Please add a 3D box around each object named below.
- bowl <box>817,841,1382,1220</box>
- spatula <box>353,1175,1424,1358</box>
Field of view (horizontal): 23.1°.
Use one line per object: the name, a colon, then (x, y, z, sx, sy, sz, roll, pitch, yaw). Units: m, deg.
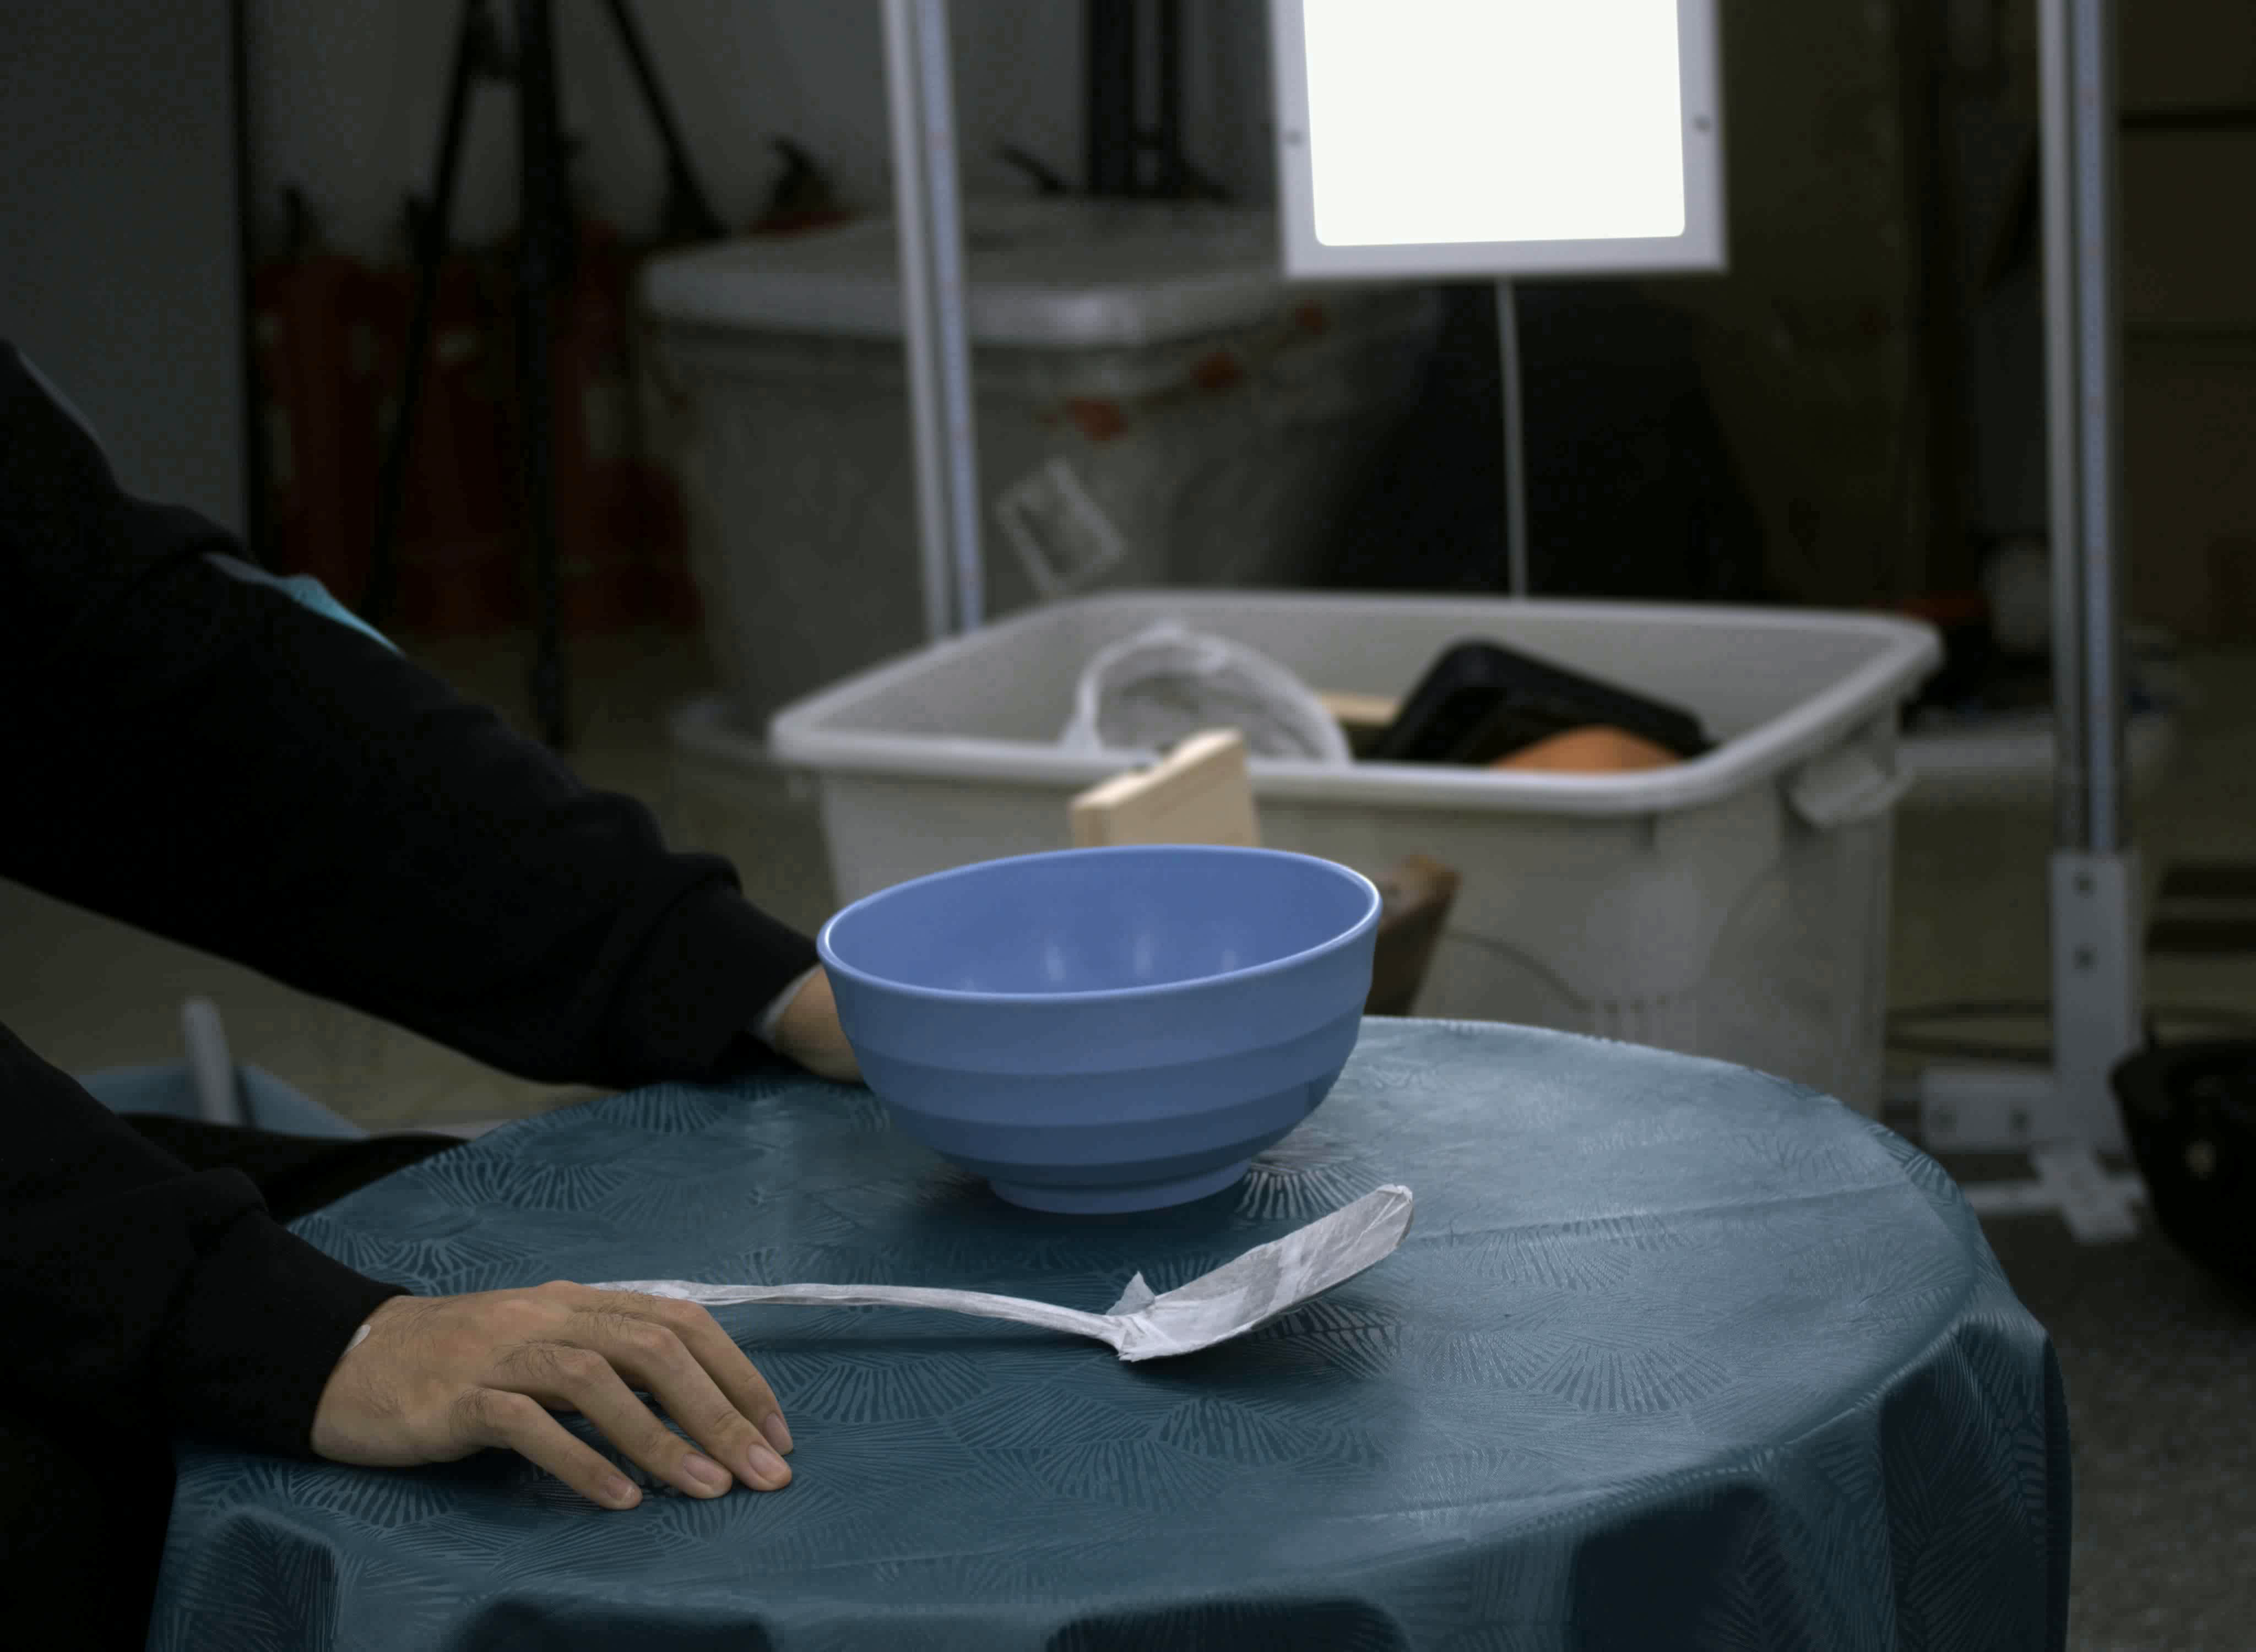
bowl: (-0.006, 0.077, 1.908, 0.196, 0.096, 0.196, -6, 15, 0)
spatula: (-0.084, 0.146, 1.769, 0.368, 0.045, 0.097, -1, 16, 16)
